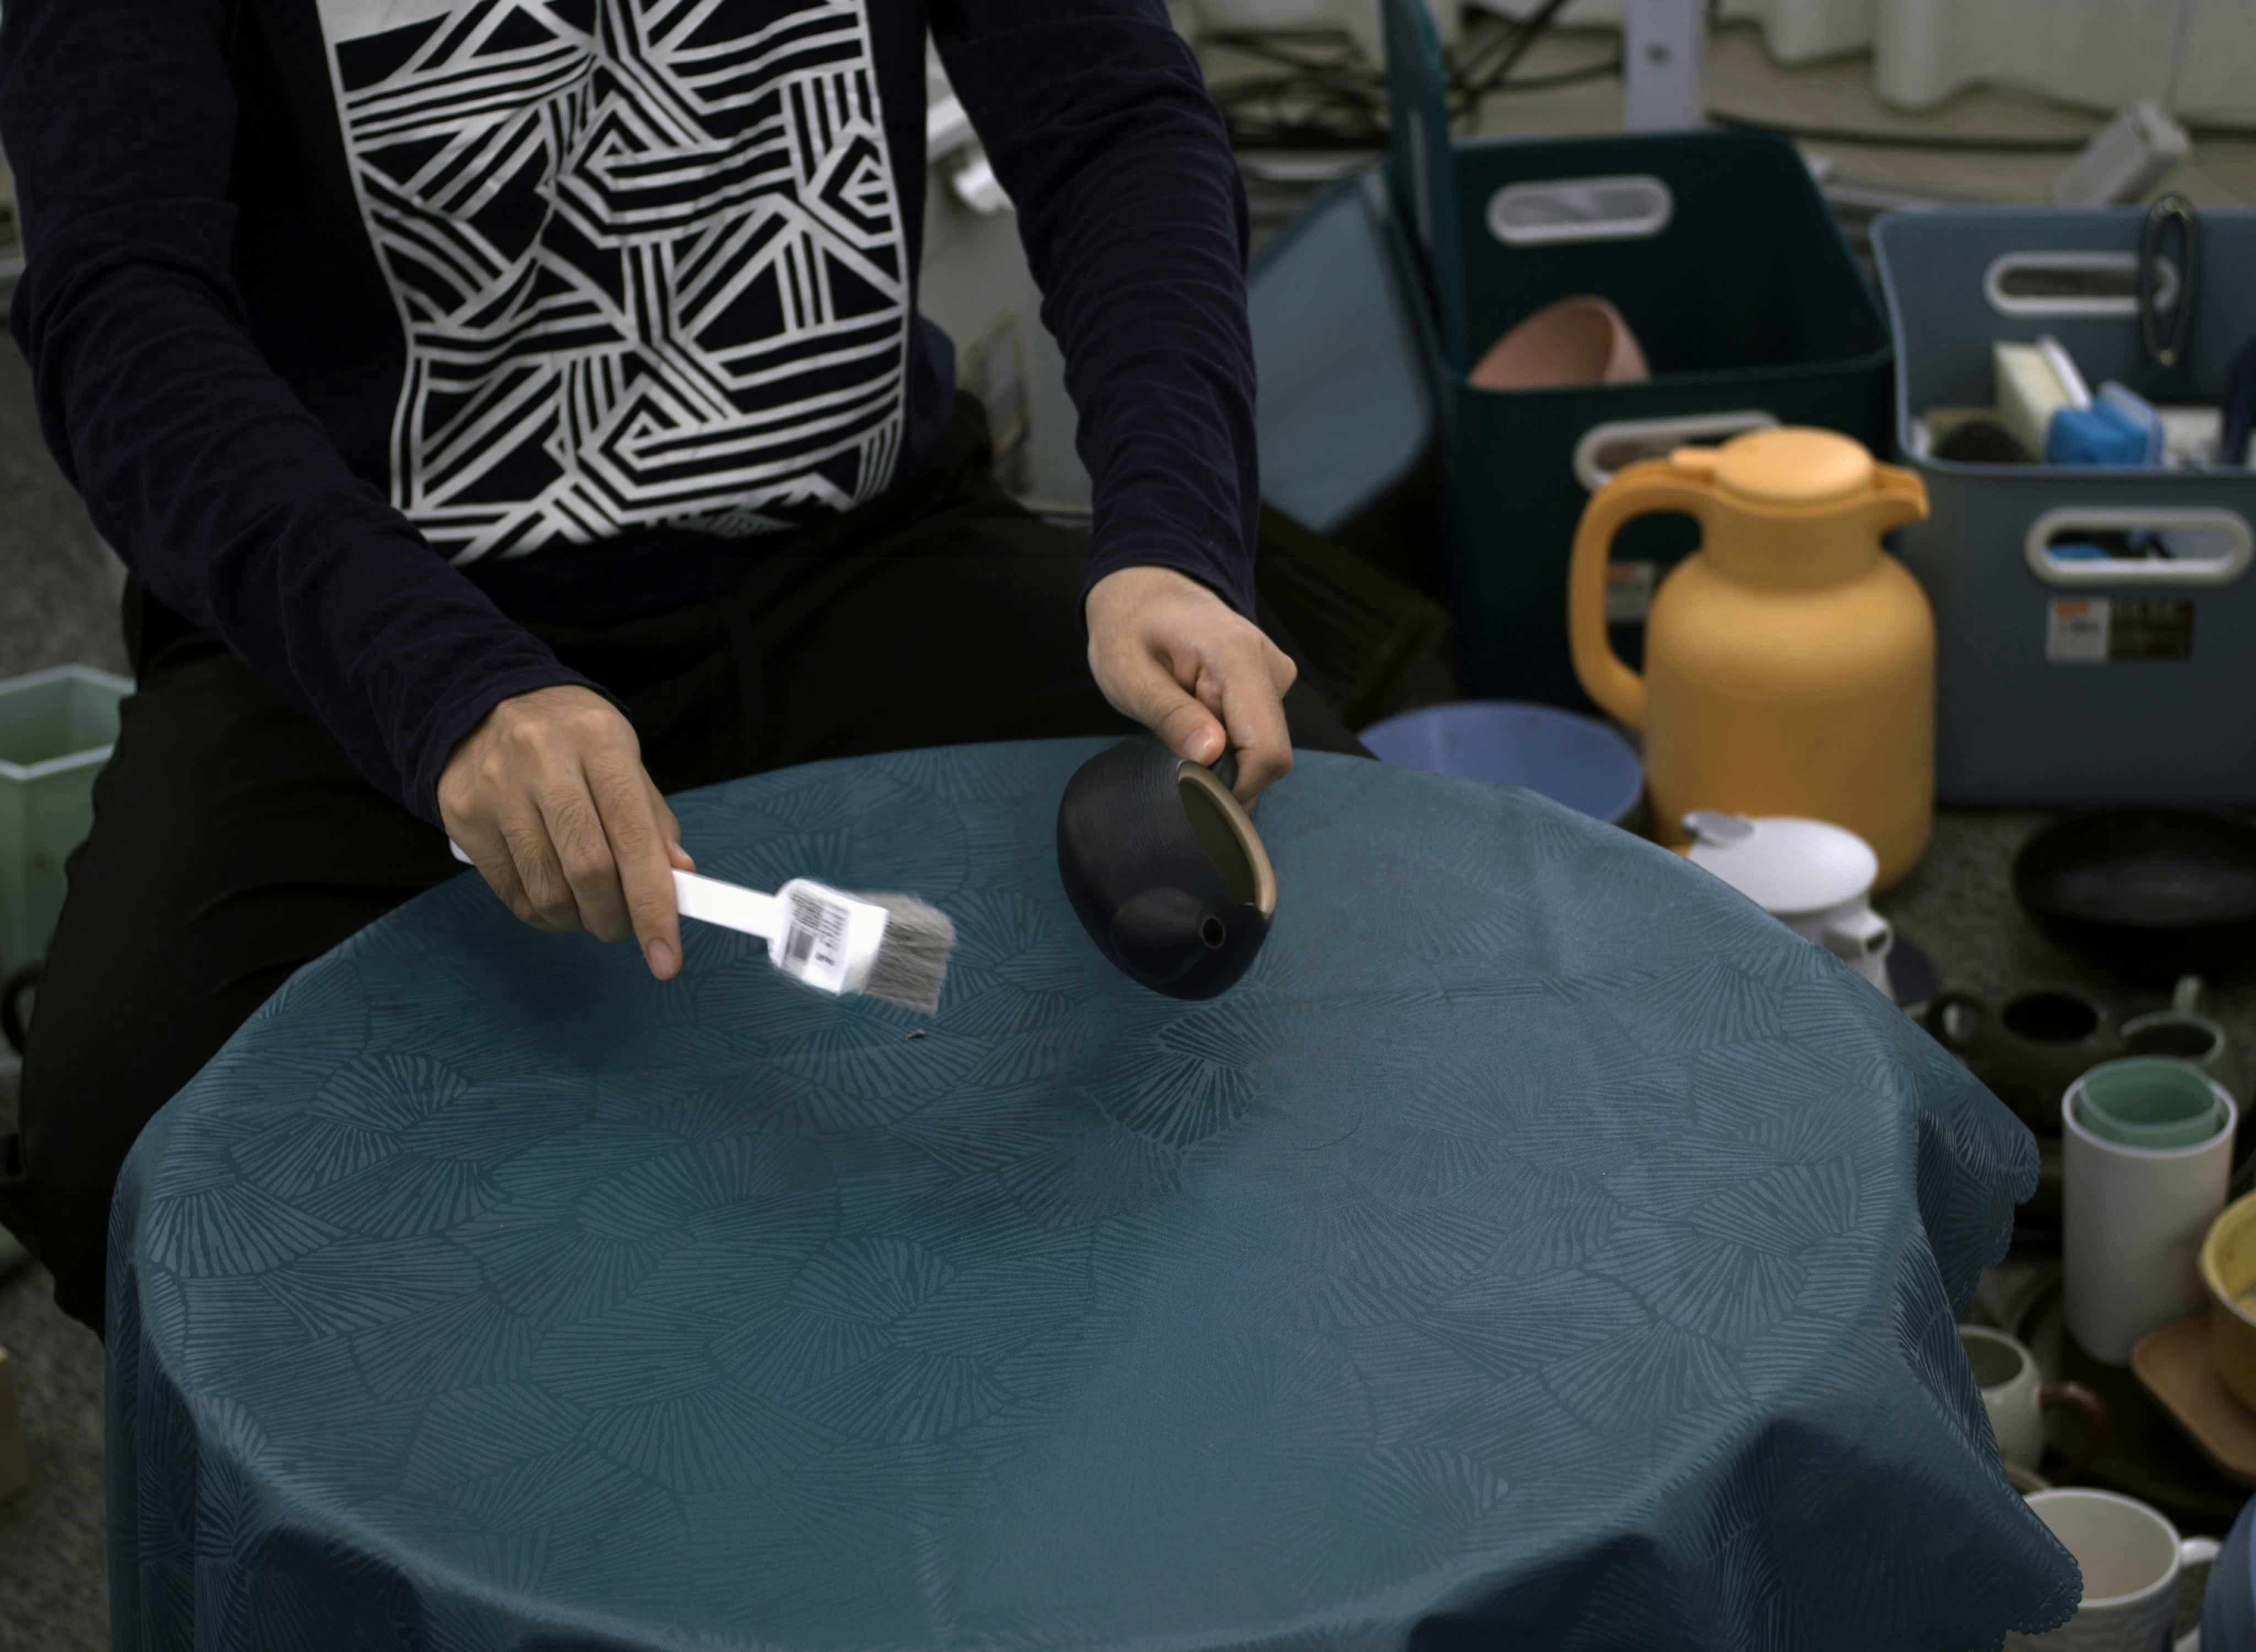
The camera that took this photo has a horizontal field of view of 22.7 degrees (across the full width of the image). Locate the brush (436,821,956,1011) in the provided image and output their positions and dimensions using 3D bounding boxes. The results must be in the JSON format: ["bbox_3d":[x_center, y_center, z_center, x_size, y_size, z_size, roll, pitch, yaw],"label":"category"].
[{"bbox_3d":[-0.147,0.029,1.923,0.242,0.034,0.050,11,-2,45],"label":"brush"}]

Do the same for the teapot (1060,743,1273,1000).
[{"bbox_3d":[0.012,0.014,1.902,0.052,0.090,0.135,-26,25,18],"label":"teapot"}]
